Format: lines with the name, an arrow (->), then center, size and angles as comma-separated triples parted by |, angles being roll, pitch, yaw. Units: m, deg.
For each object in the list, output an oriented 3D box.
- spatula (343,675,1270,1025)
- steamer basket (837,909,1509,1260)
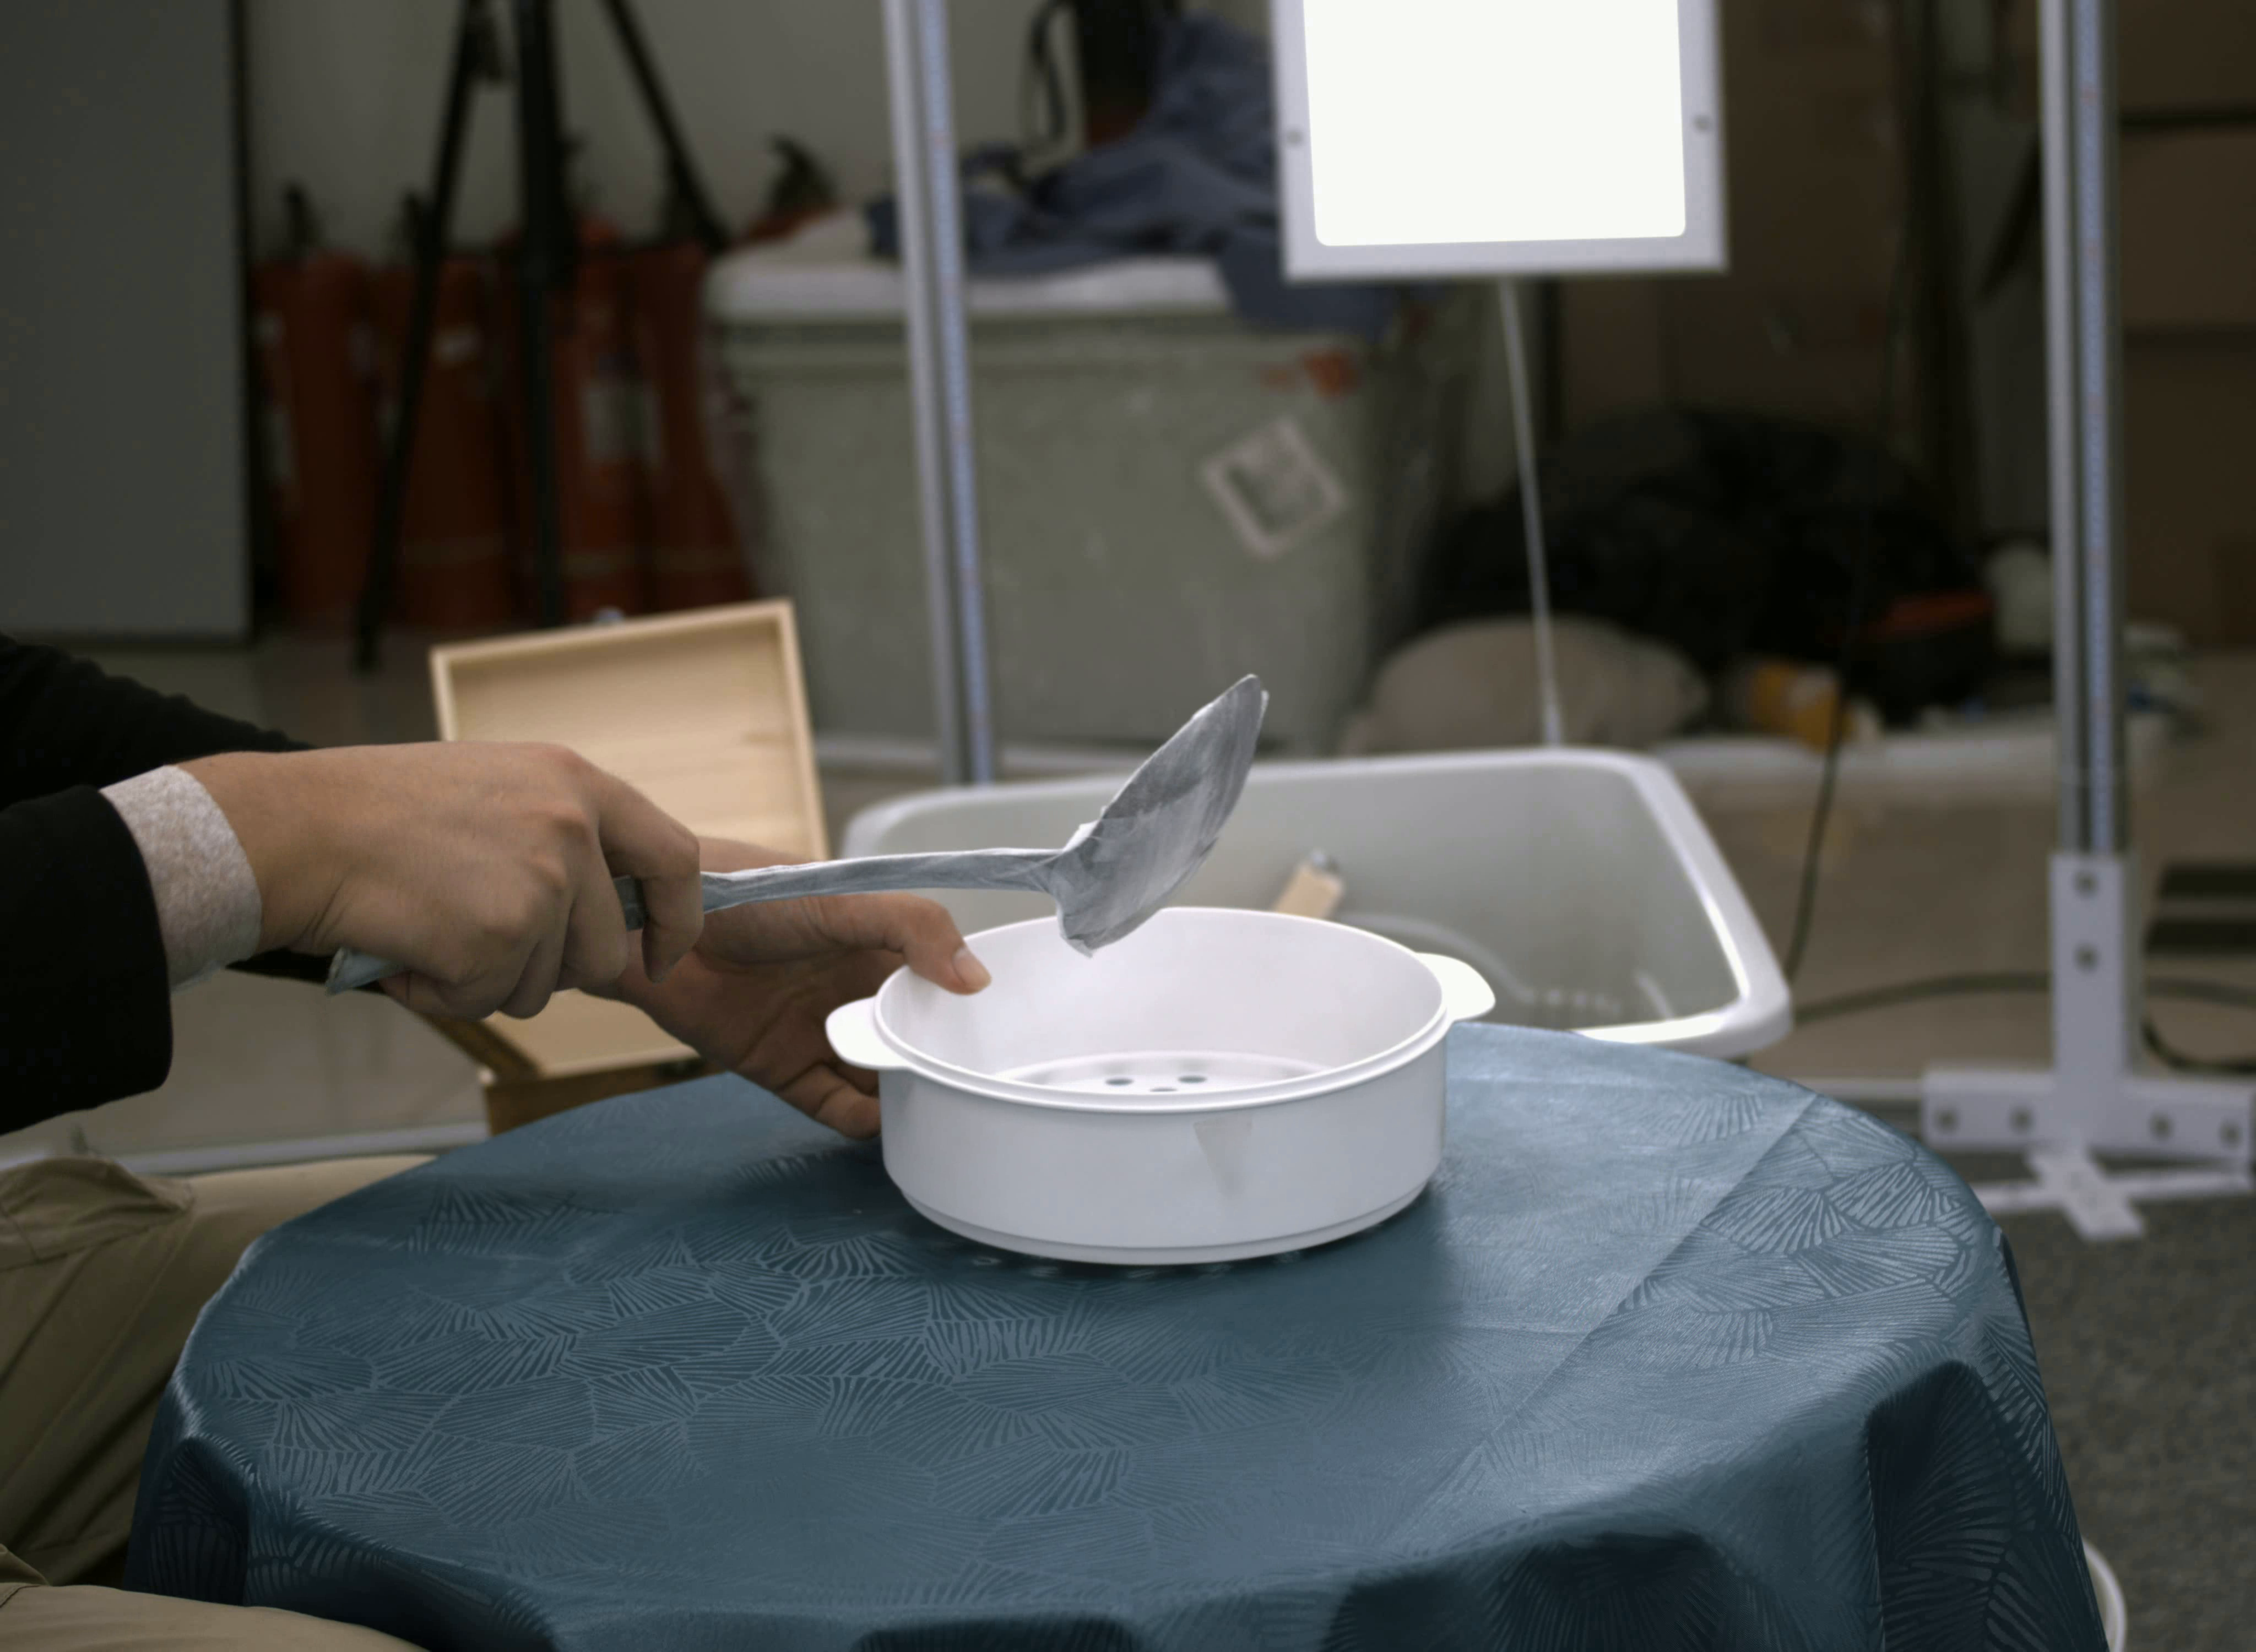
spatula -> -0.094, 0.016, 1.739 | 0.356, 0.100, 0.045 | -8, 45, -34
steamer basket -> 0.017, 0.088, 1.882 | 0.228, 0.069, 0.203 | -5, 16, -7
